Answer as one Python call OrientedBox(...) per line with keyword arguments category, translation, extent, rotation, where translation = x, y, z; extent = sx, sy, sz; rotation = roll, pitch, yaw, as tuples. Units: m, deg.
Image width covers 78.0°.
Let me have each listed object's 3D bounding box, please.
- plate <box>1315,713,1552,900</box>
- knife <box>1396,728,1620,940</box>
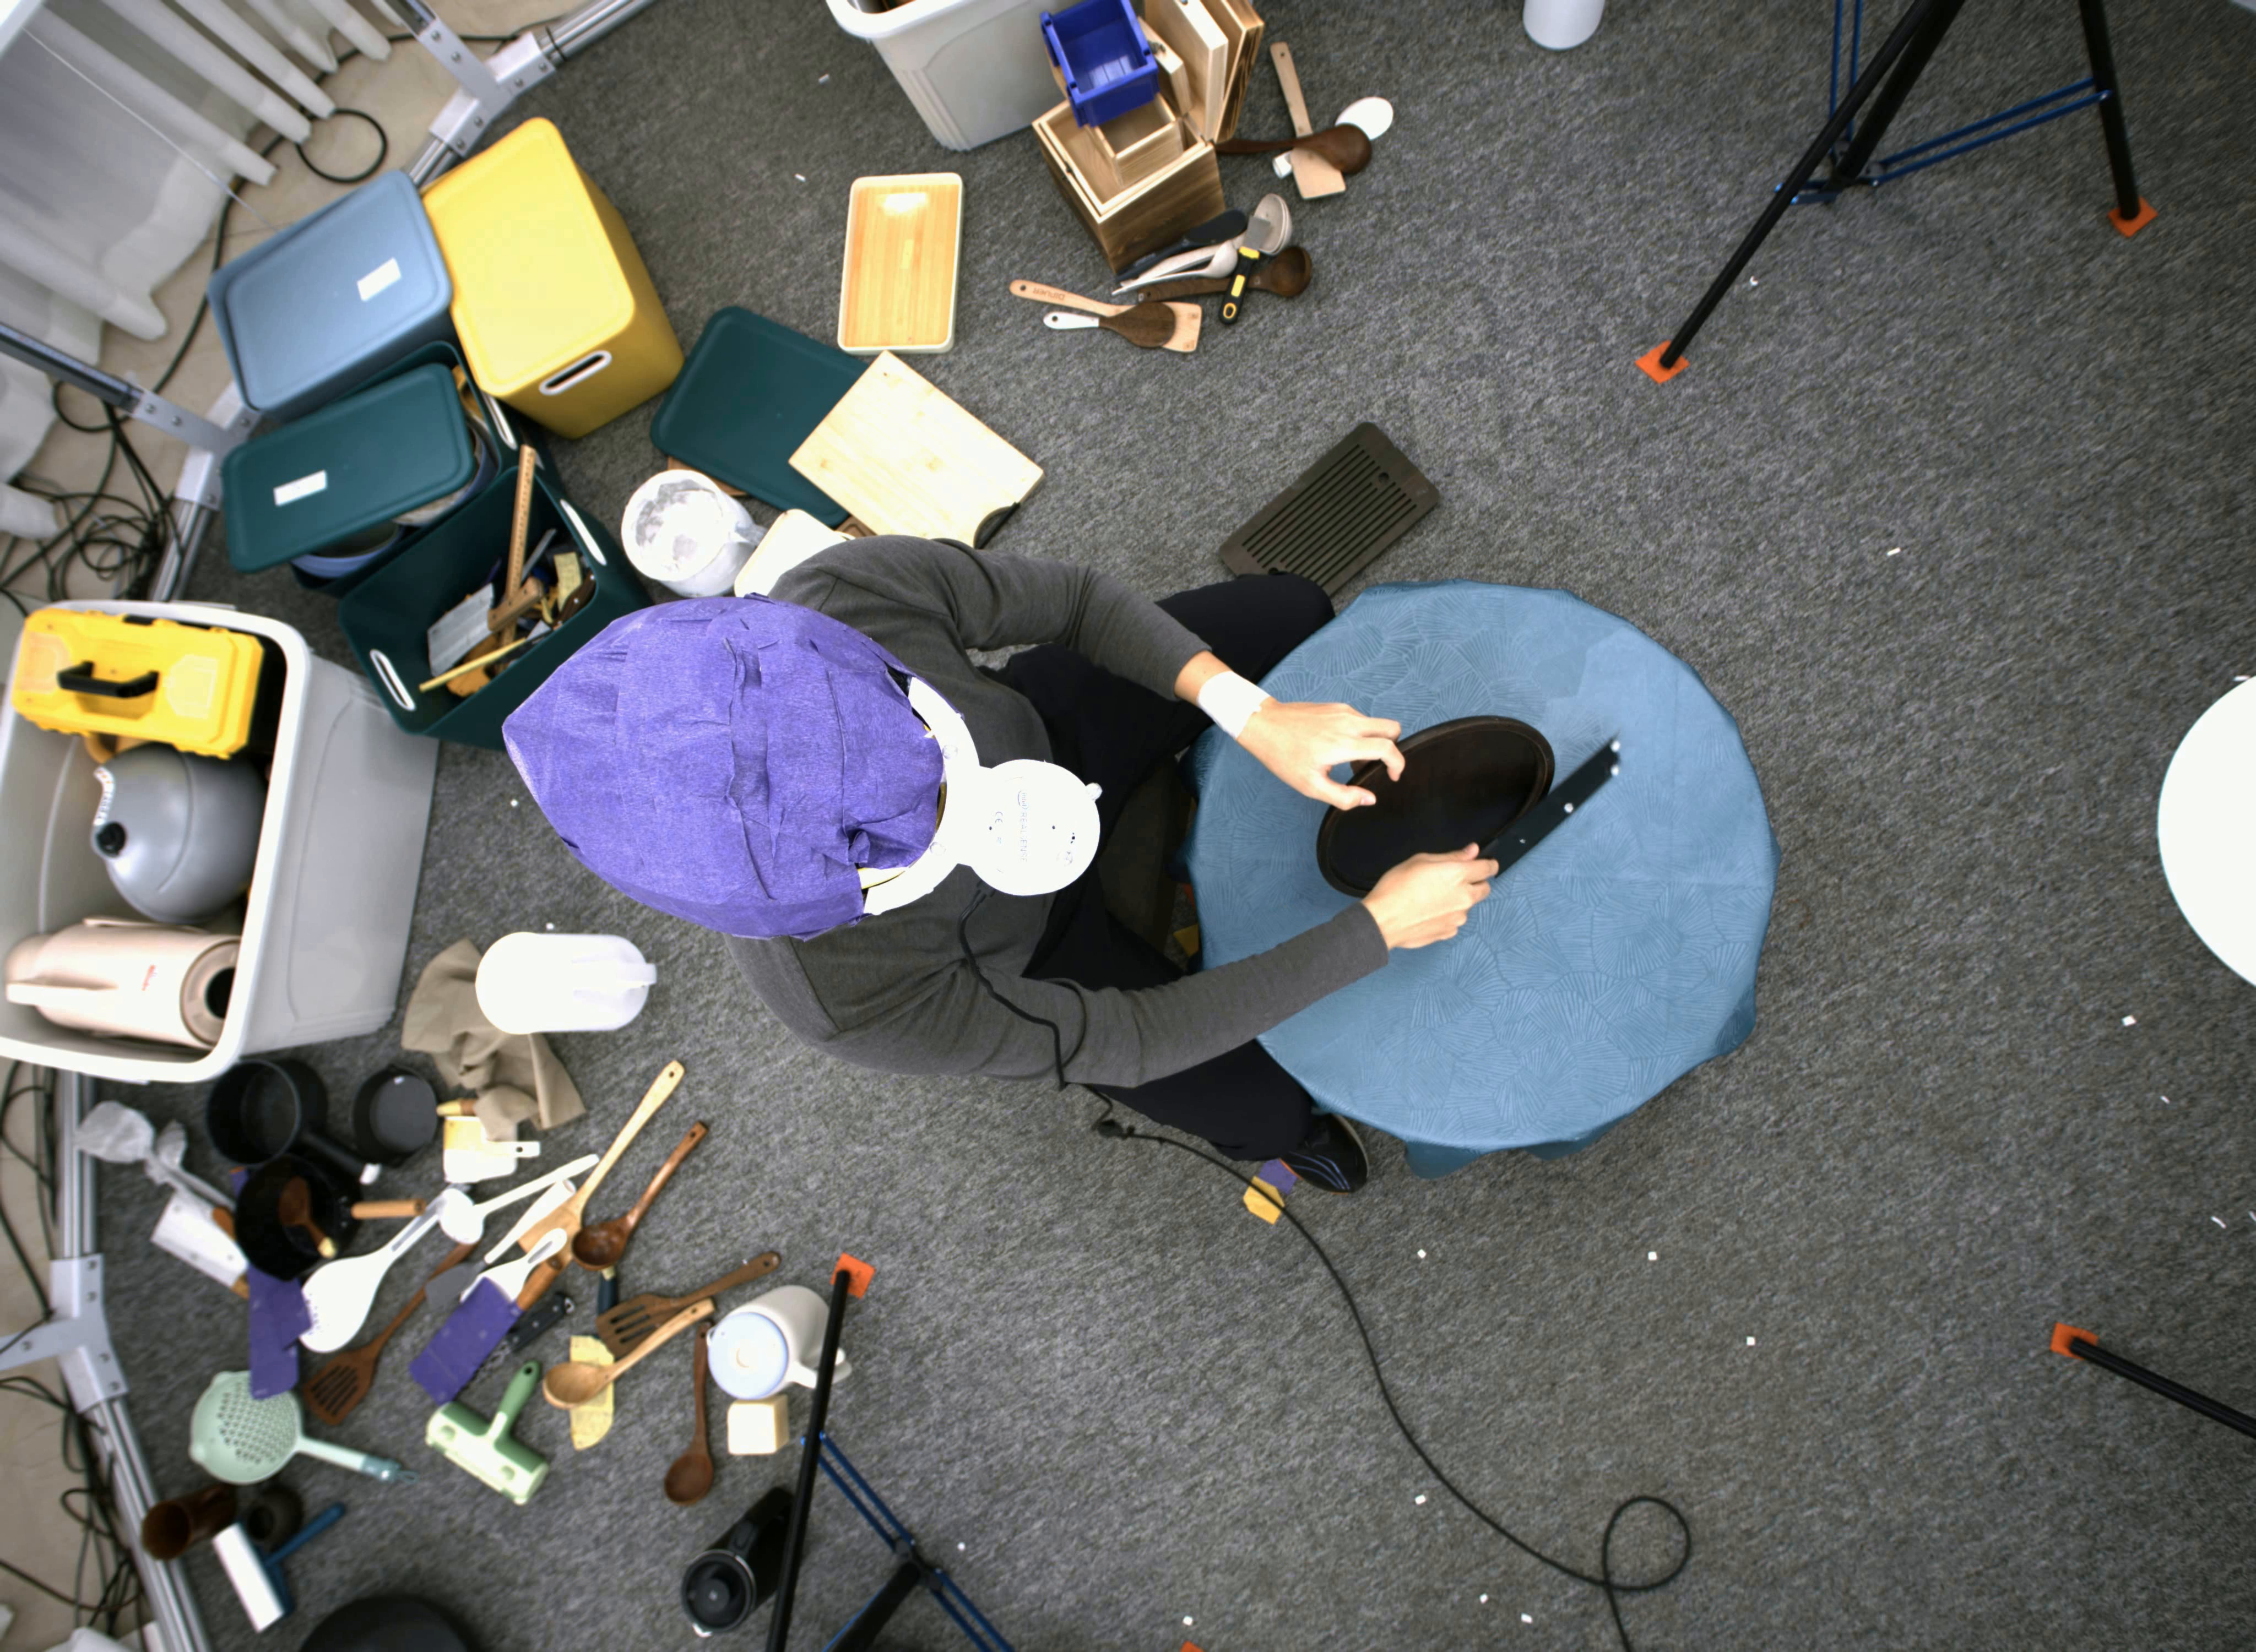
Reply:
OrientedBox(category="plate", translation=(0.298, -0.018, 1.349), extent=(0.256, 0.258, 0.028), rotation=(-28, 54, 7))
OrientedBox(category="knife", translation=(0.381, 0.009, 1.362), extent=(0.300, 0.082, 0.020), rotation=(-38, 51, -8))
